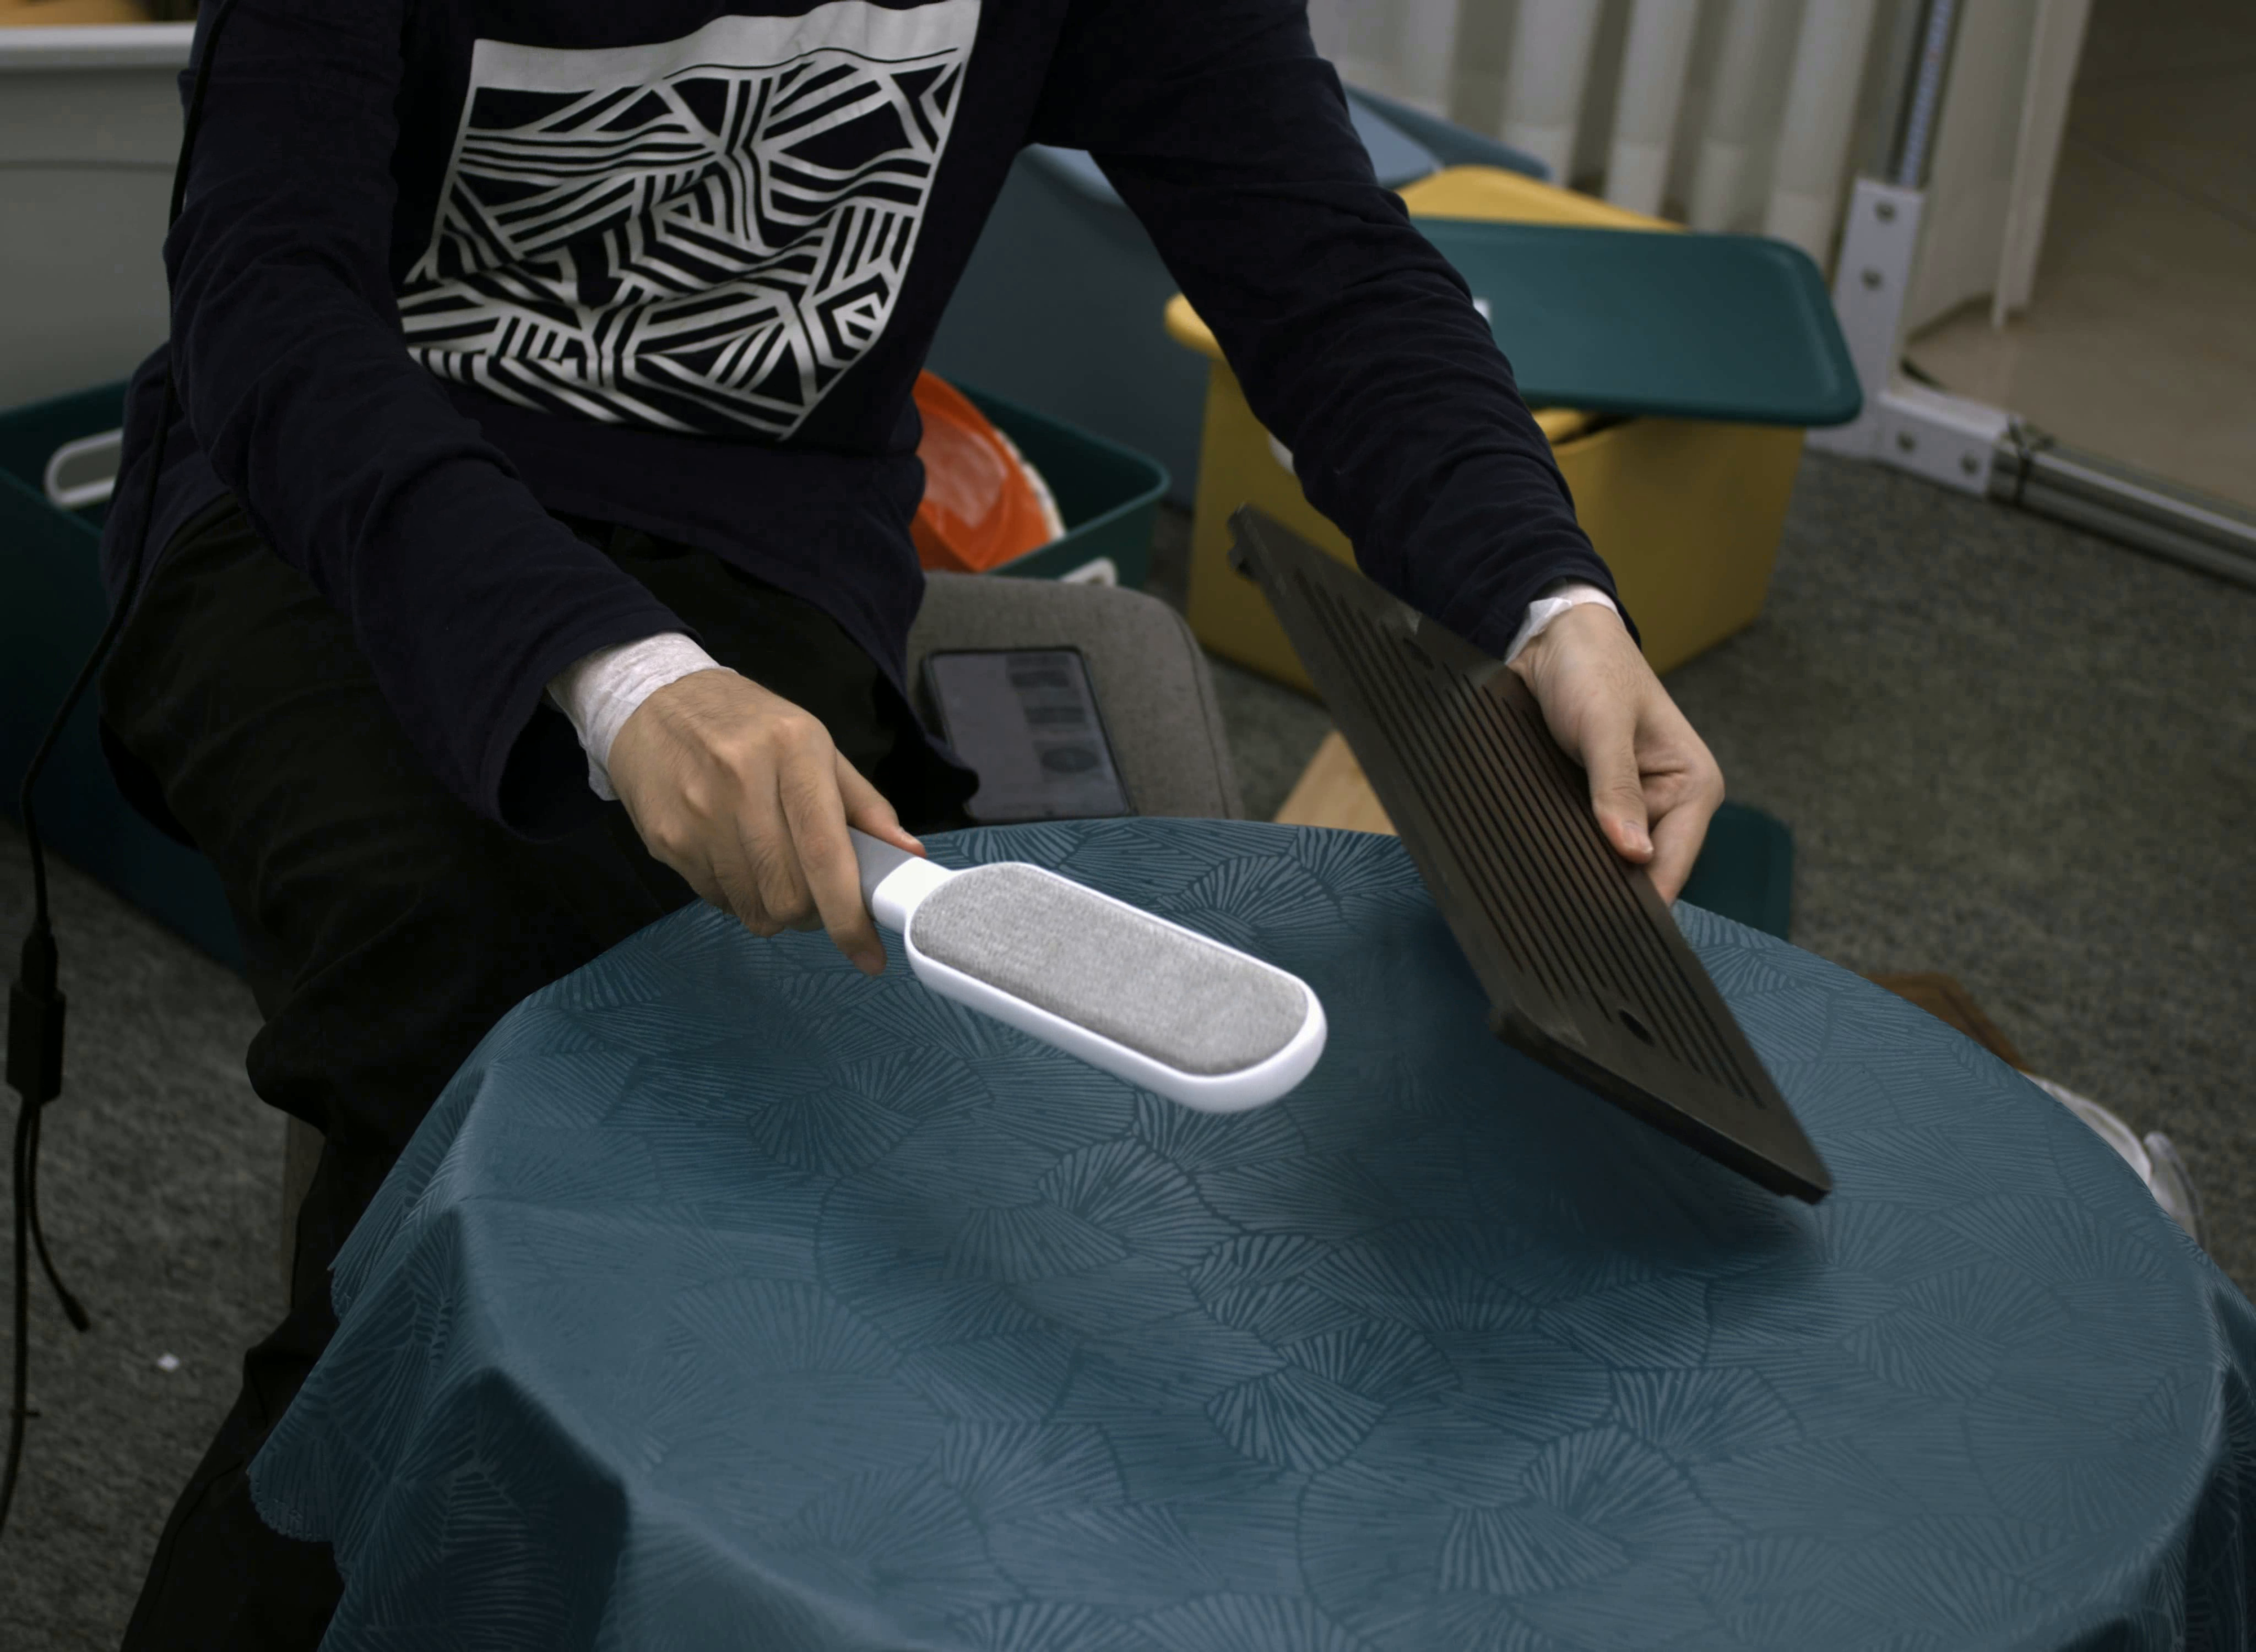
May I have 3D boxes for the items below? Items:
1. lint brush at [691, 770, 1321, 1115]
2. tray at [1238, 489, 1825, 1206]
[{"bbox_3d":[-0.048,0.032,1.775,0.060,0.021,0.311,-43,40,-22],"label":"lint brush"},{"bbox_3d":[0.136,0.006,1.881,0.168,0.018,0.309,32,21,-37],"label":"tray"}]
